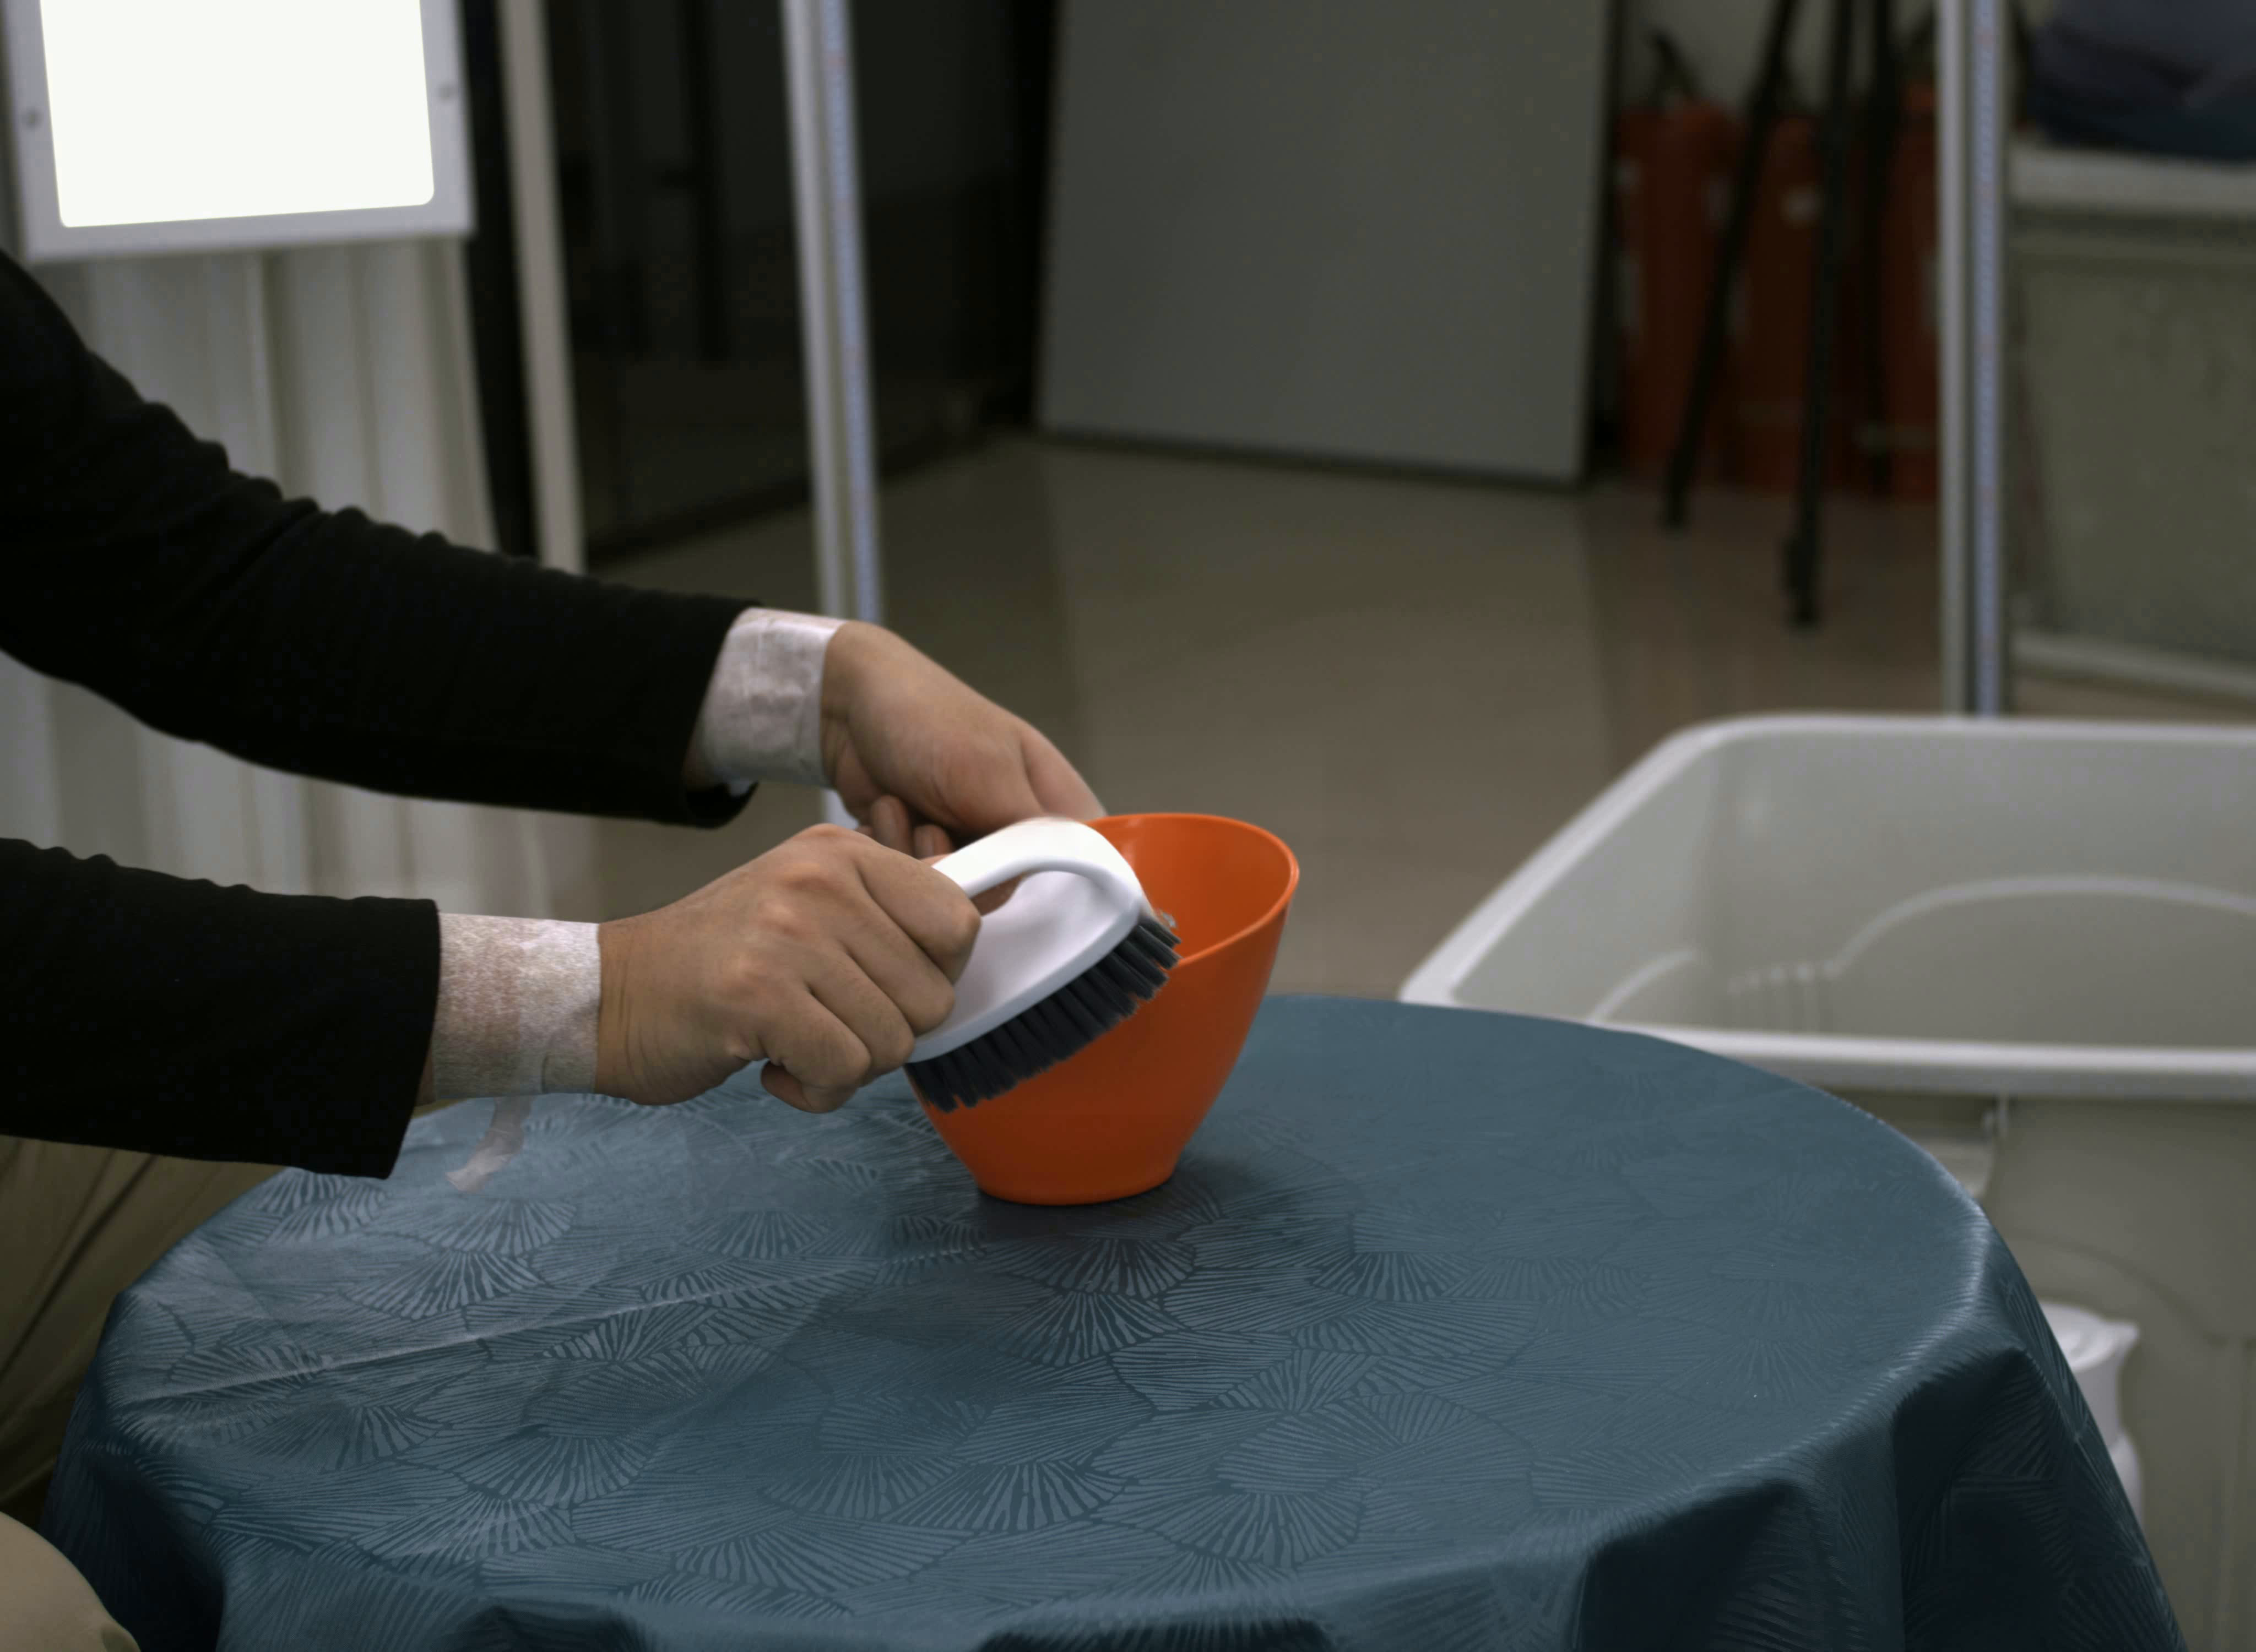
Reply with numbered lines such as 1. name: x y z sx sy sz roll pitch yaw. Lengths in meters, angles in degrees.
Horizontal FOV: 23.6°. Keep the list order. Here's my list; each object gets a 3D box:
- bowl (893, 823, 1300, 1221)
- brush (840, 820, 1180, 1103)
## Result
1. bowl: -0.012 0.068 1.784 0.146 0.106 0.148 -6 13 0
2. brush: -0.042 0.035 1.645 0.099 0.072 0.051 -30 46 11
